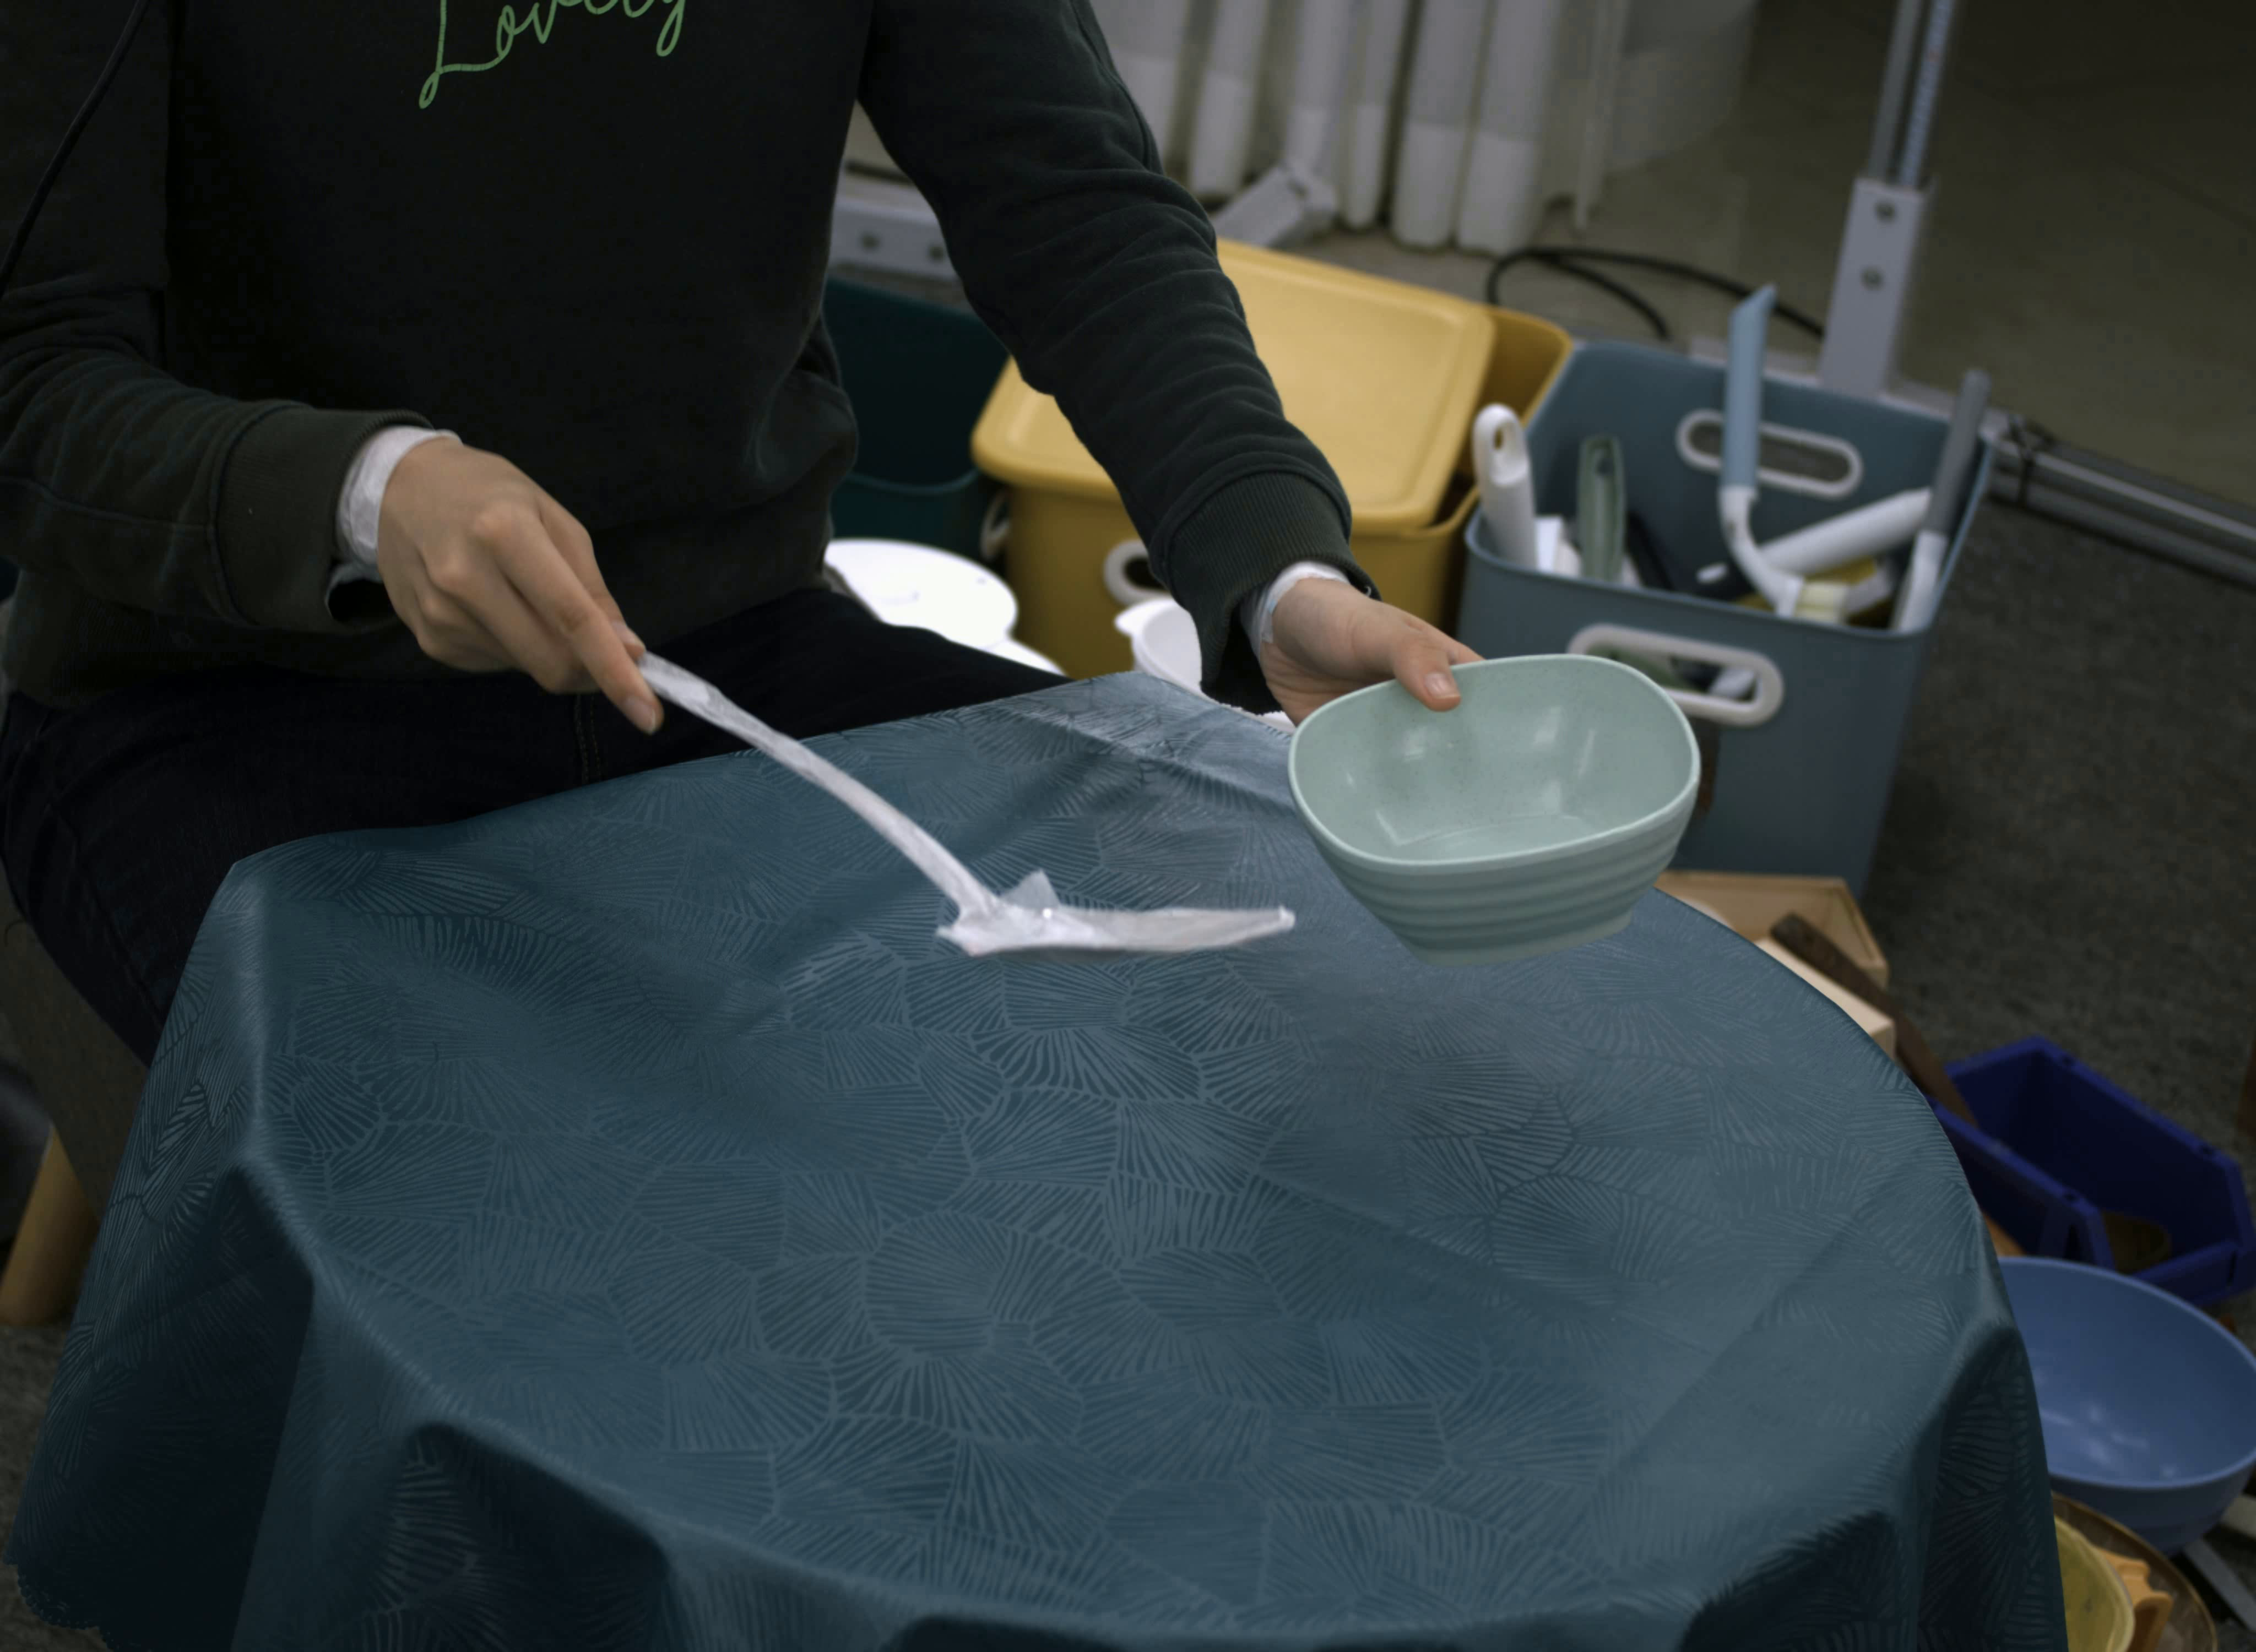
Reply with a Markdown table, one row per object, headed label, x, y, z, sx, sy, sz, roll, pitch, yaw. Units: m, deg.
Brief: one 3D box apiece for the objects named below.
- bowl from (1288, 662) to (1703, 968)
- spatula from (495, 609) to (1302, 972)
| label | x | y | z | sx | sy | sz | roll | pitch | yaw |
| --- | --- | --- | --- | --- | --- | --- | --- | --- | --- |
| bowl | 0.127 | 0.002 | 1.827 | 0.151 | 0.058 | 0.152 | -4 | 29 | 2 |
| spatula | -0.097 | -0.018 | 1.741 | 0.098 | 0.044 | 0.368 | -9 | 30 | -44 |
